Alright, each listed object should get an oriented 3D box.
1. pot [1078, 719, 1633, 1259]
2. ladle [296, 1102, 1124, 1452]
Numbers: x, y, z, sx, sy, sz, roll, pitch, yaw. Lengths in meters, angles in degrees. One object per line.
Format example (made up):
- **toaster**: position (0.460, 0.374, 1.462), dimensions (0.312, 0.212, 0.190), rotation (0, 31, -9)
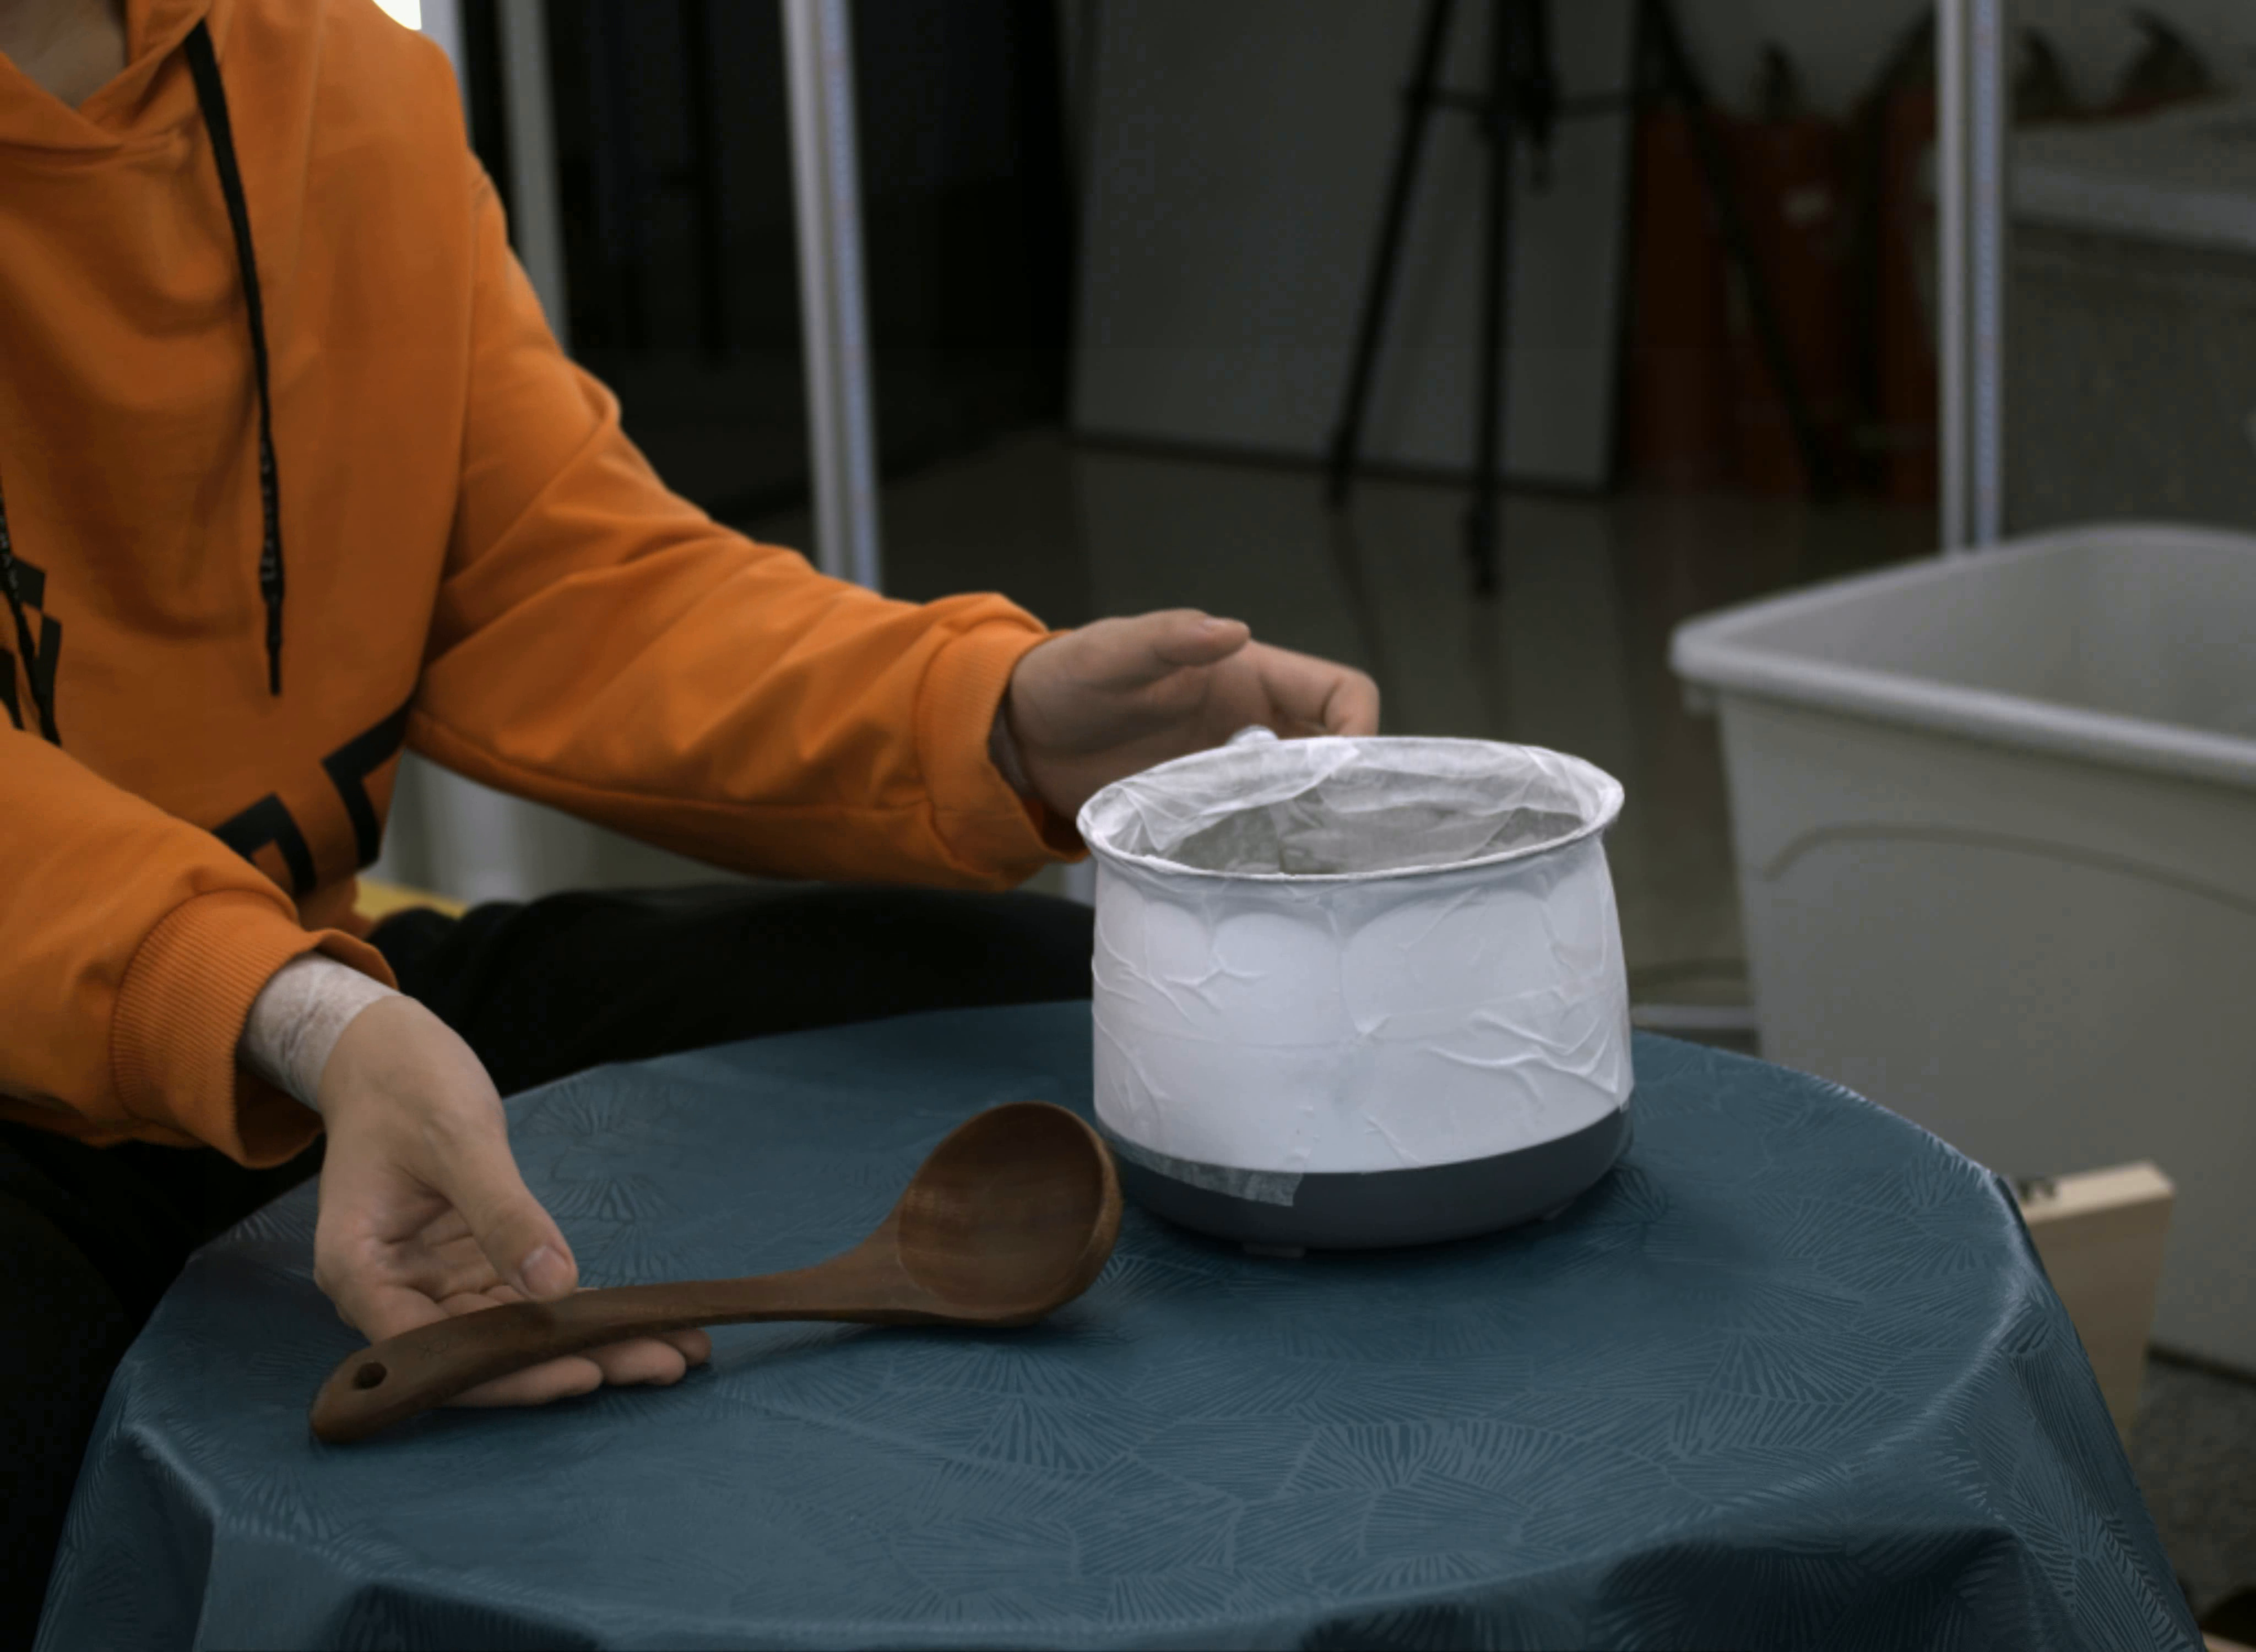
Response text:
- **pot**: position (0.066, 0.047, 1.763), dimensions (0.175, 0.138, 0.236), rotation (-7, 14, -16)
- **ladle**: position (-0.123, 0.136, 1.619), dimensions (0.255, 0.065, 0.077), rotation (-9, 39, -21)
